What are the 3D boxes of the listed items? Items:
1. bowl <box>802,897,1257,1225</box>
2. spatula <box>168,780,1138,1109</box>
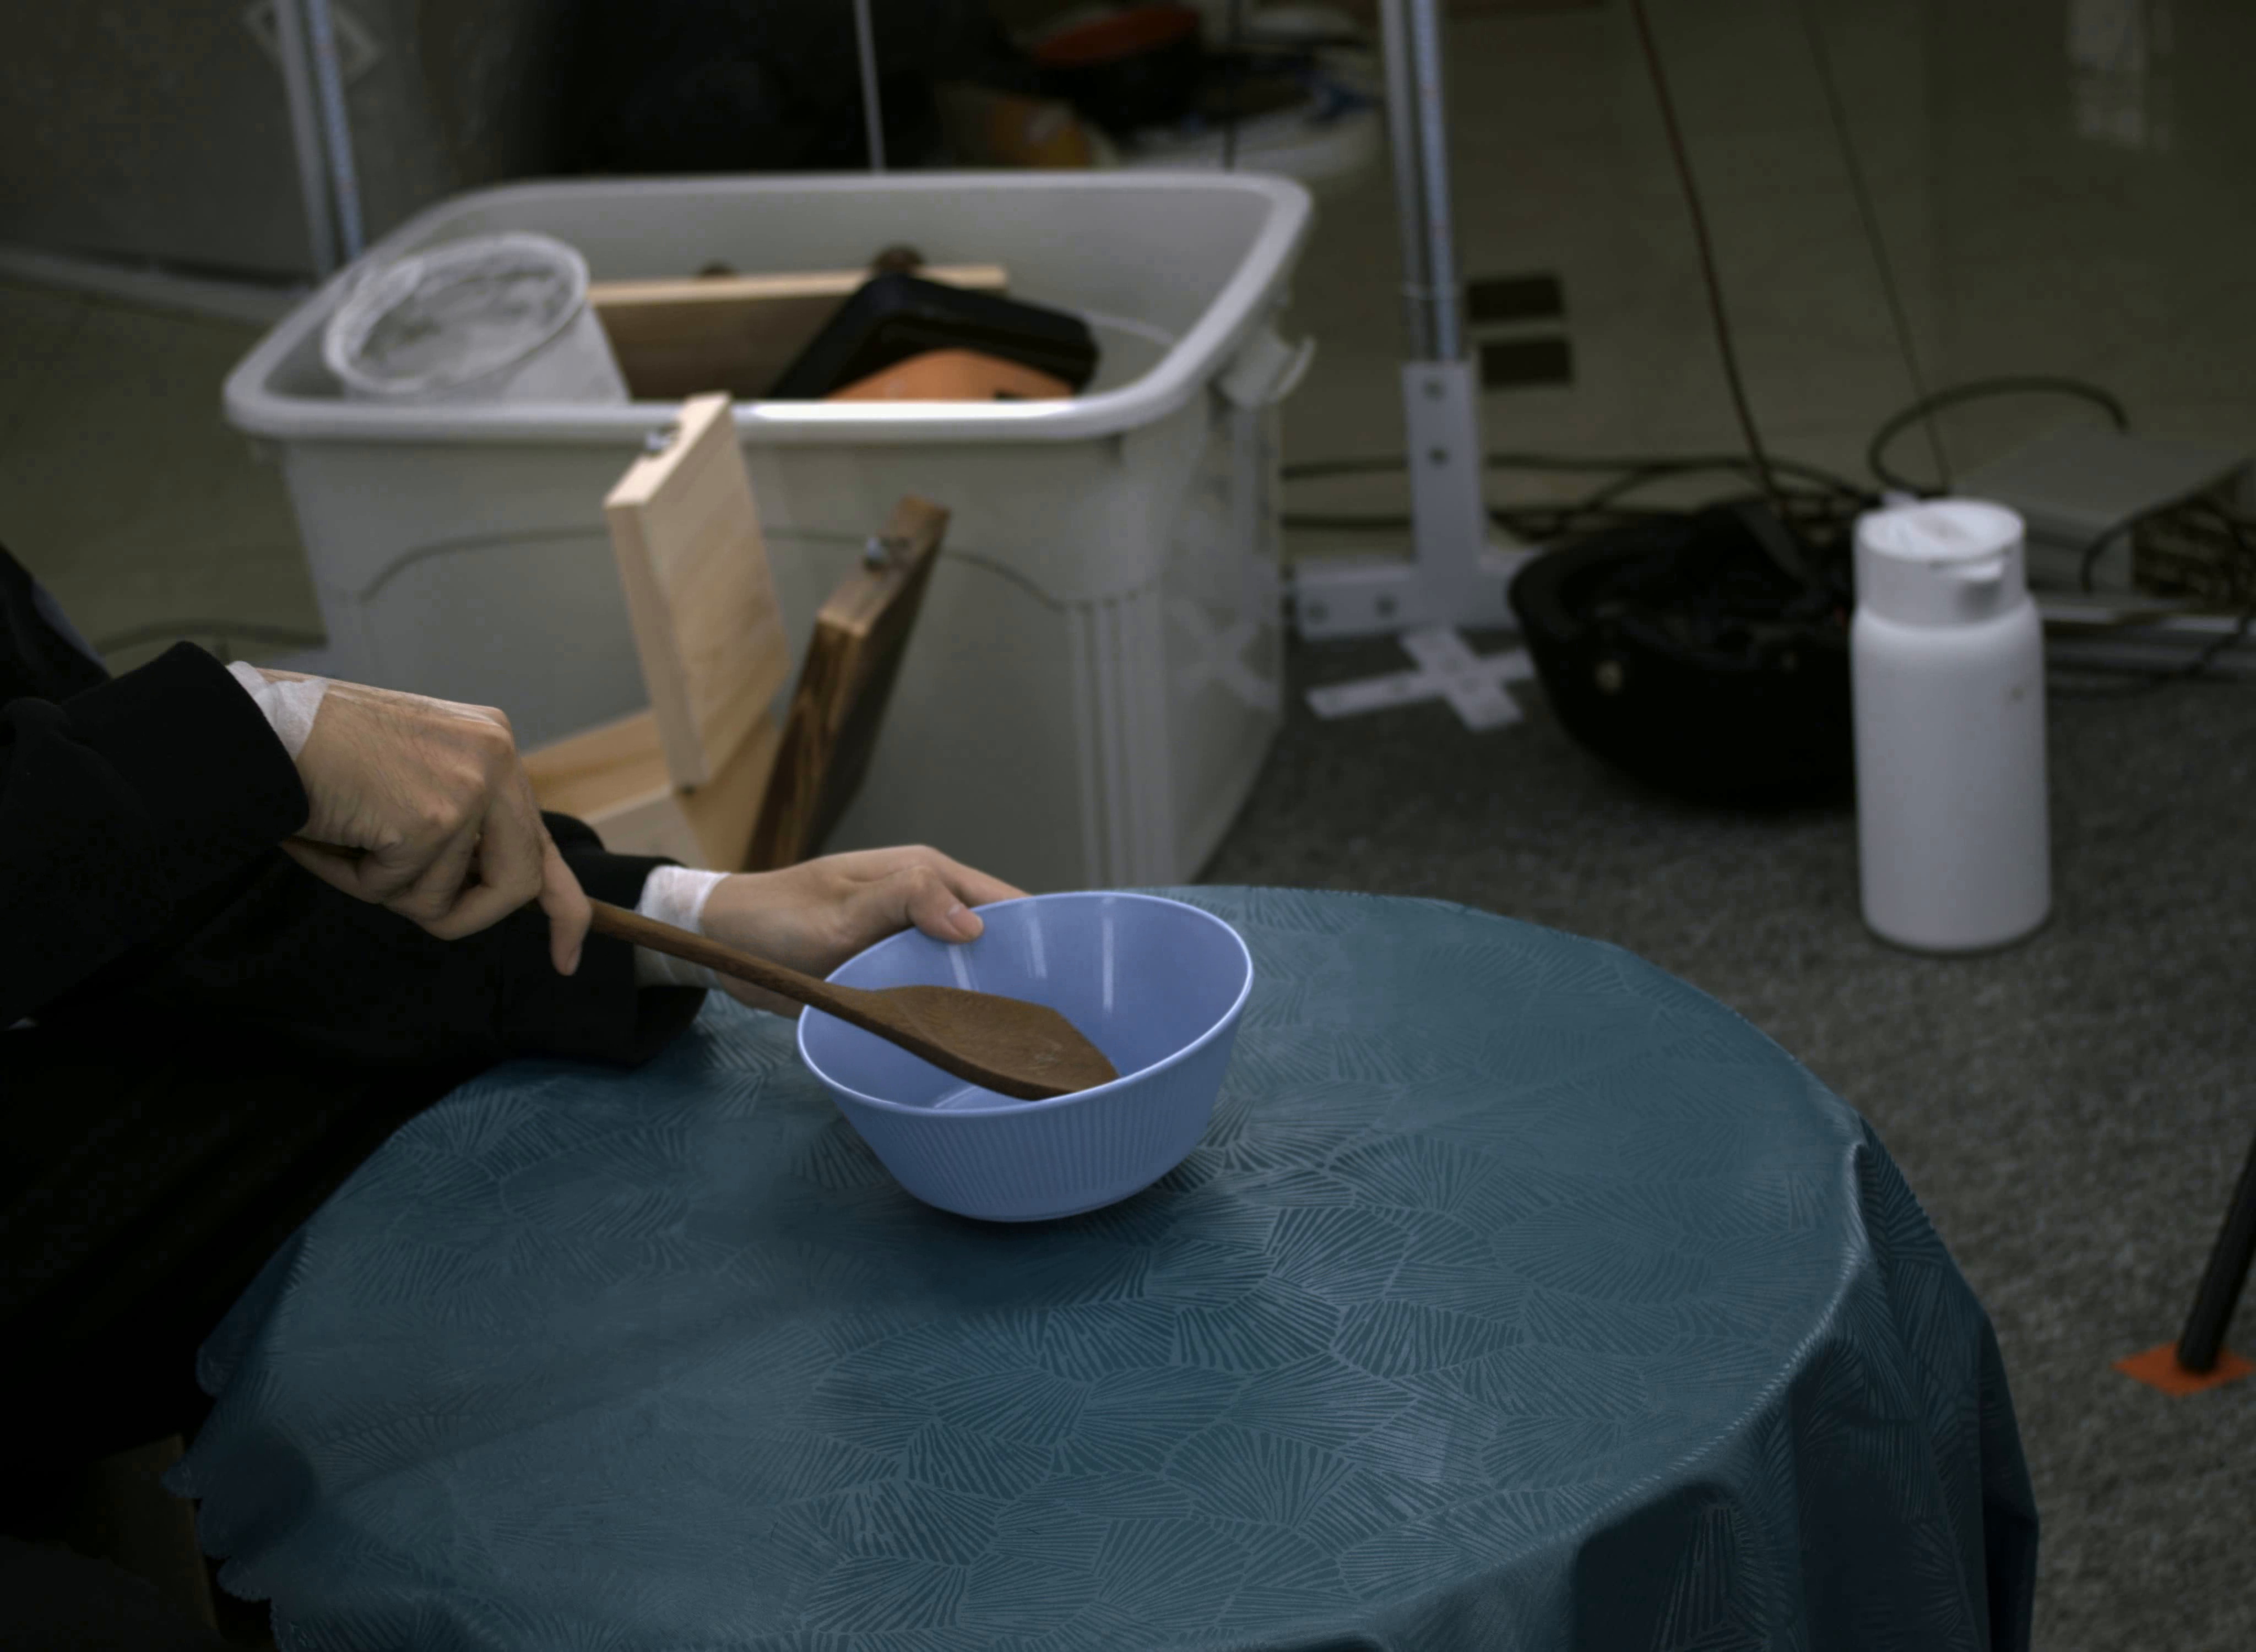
[{"bbox_3d":[-0.032,0.095,2.154,0.176,0.071,0.173,-9,25,4],"label":"bowl"},{"bbox_3d":[-0.166,0.041,2.040,0.388,0.016,0.095,19,14,-28],"label":"spatula"}]
